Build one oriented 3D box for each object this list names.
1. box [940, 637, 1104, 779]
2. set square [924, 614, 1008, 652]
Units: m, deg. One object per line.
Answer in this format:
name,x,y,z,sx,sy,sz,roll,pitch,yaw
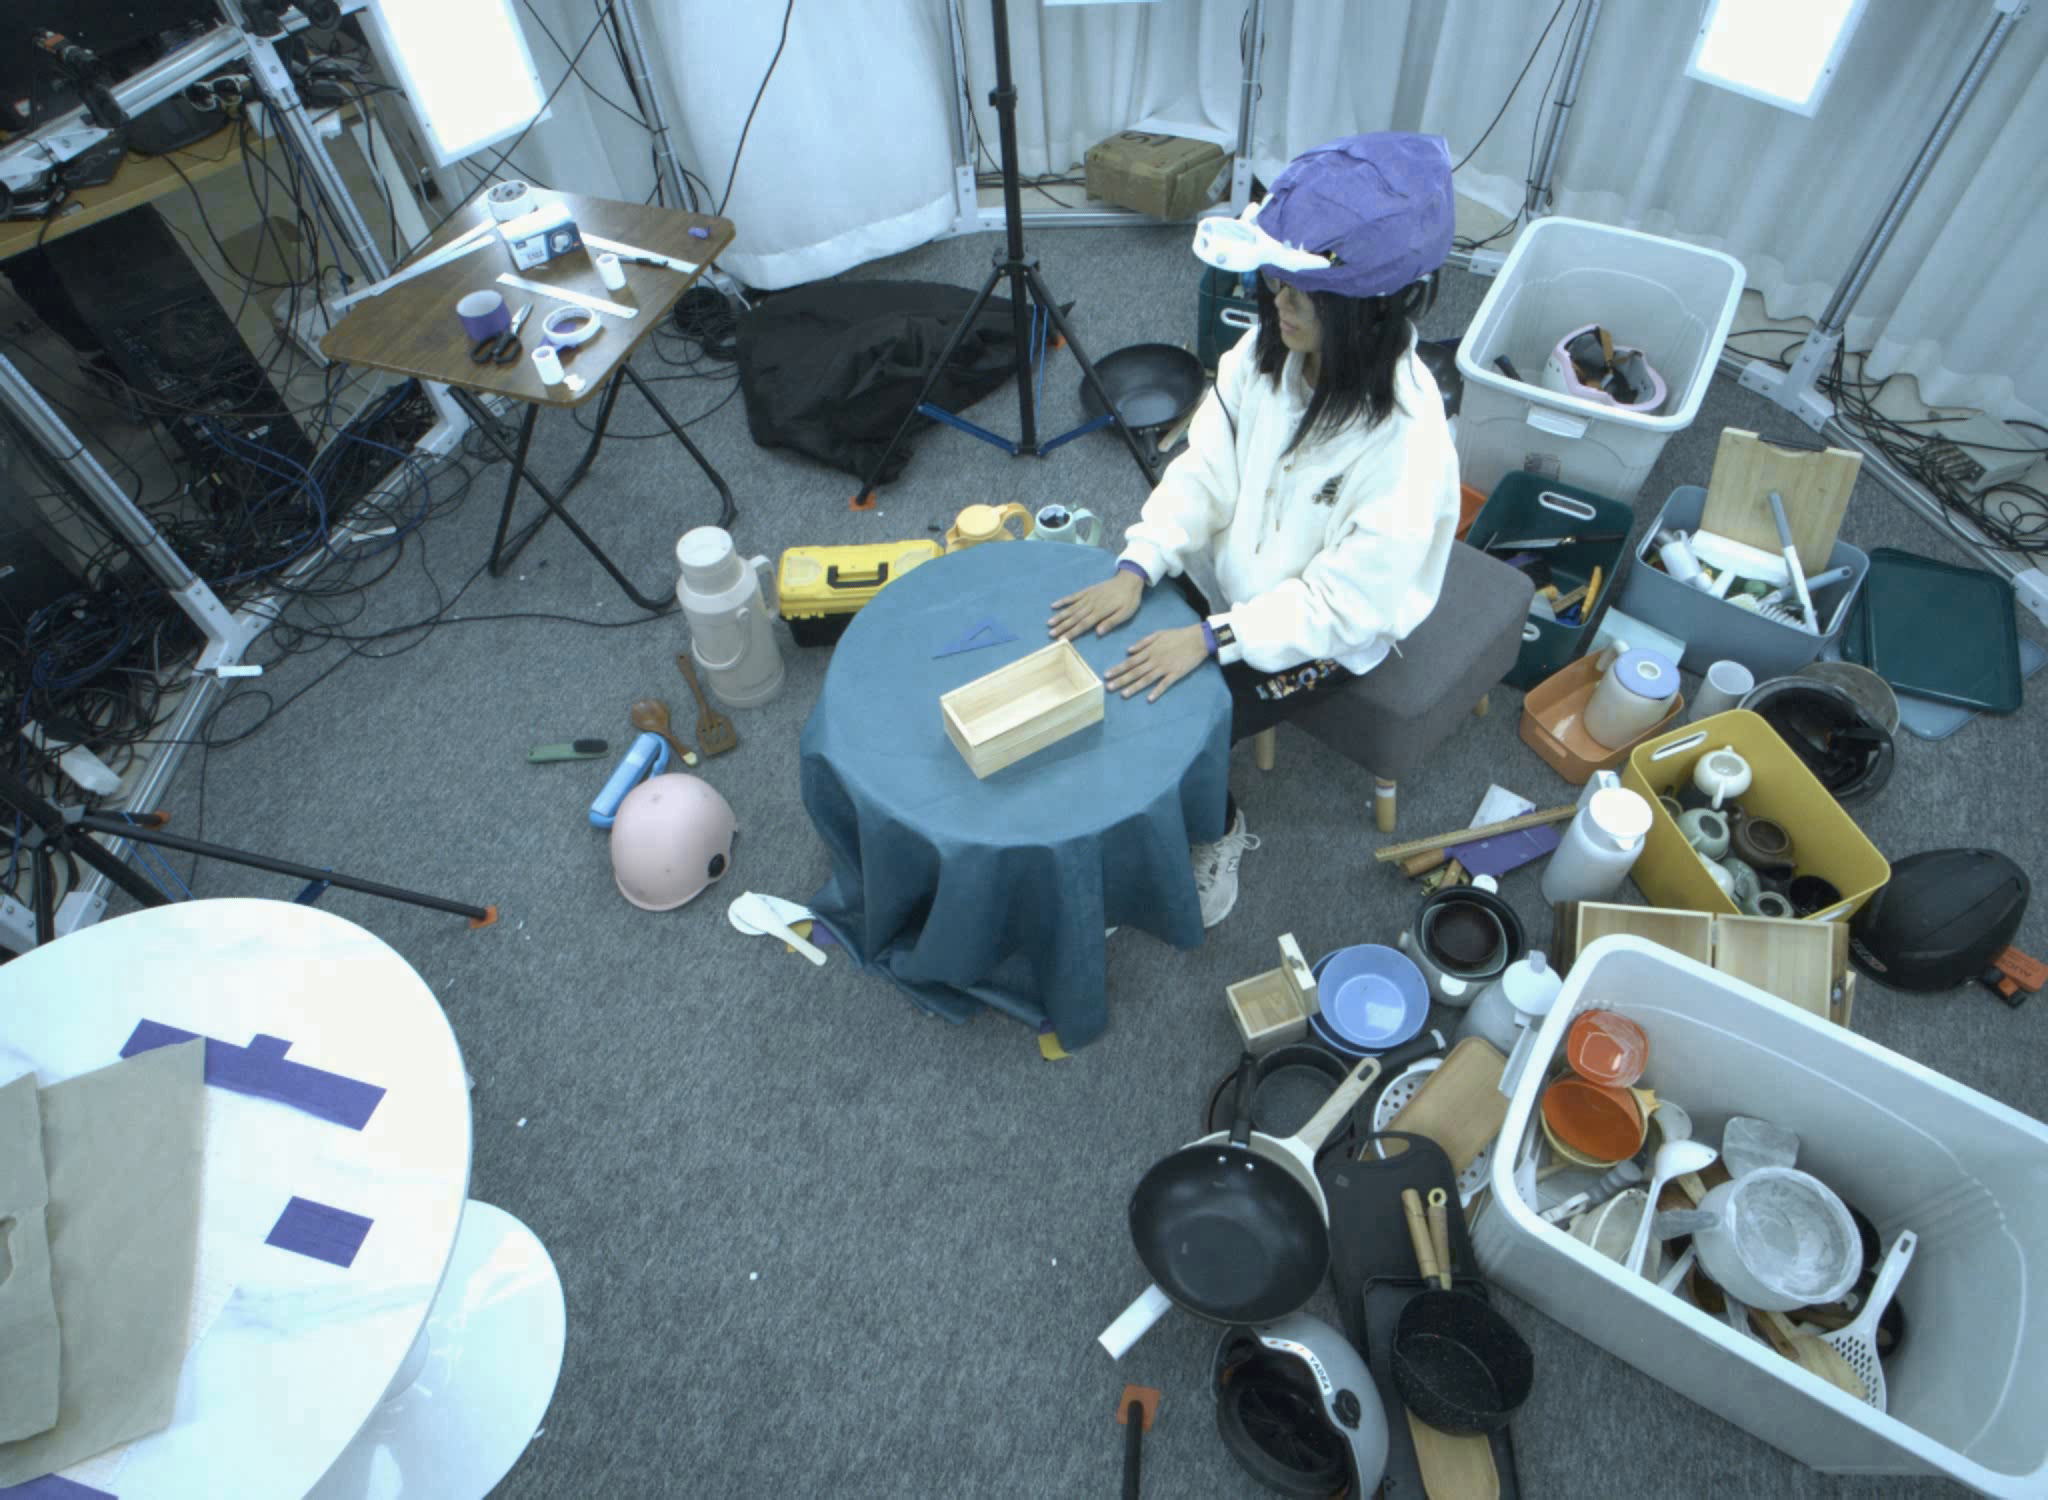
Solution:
box,-0.001,-0.062,1.783,0.213,0.081,0.105,-27,59,-16
set square,-0.094,-0.185,1.919,0.132,0.006,0.060,-10,56,-5
